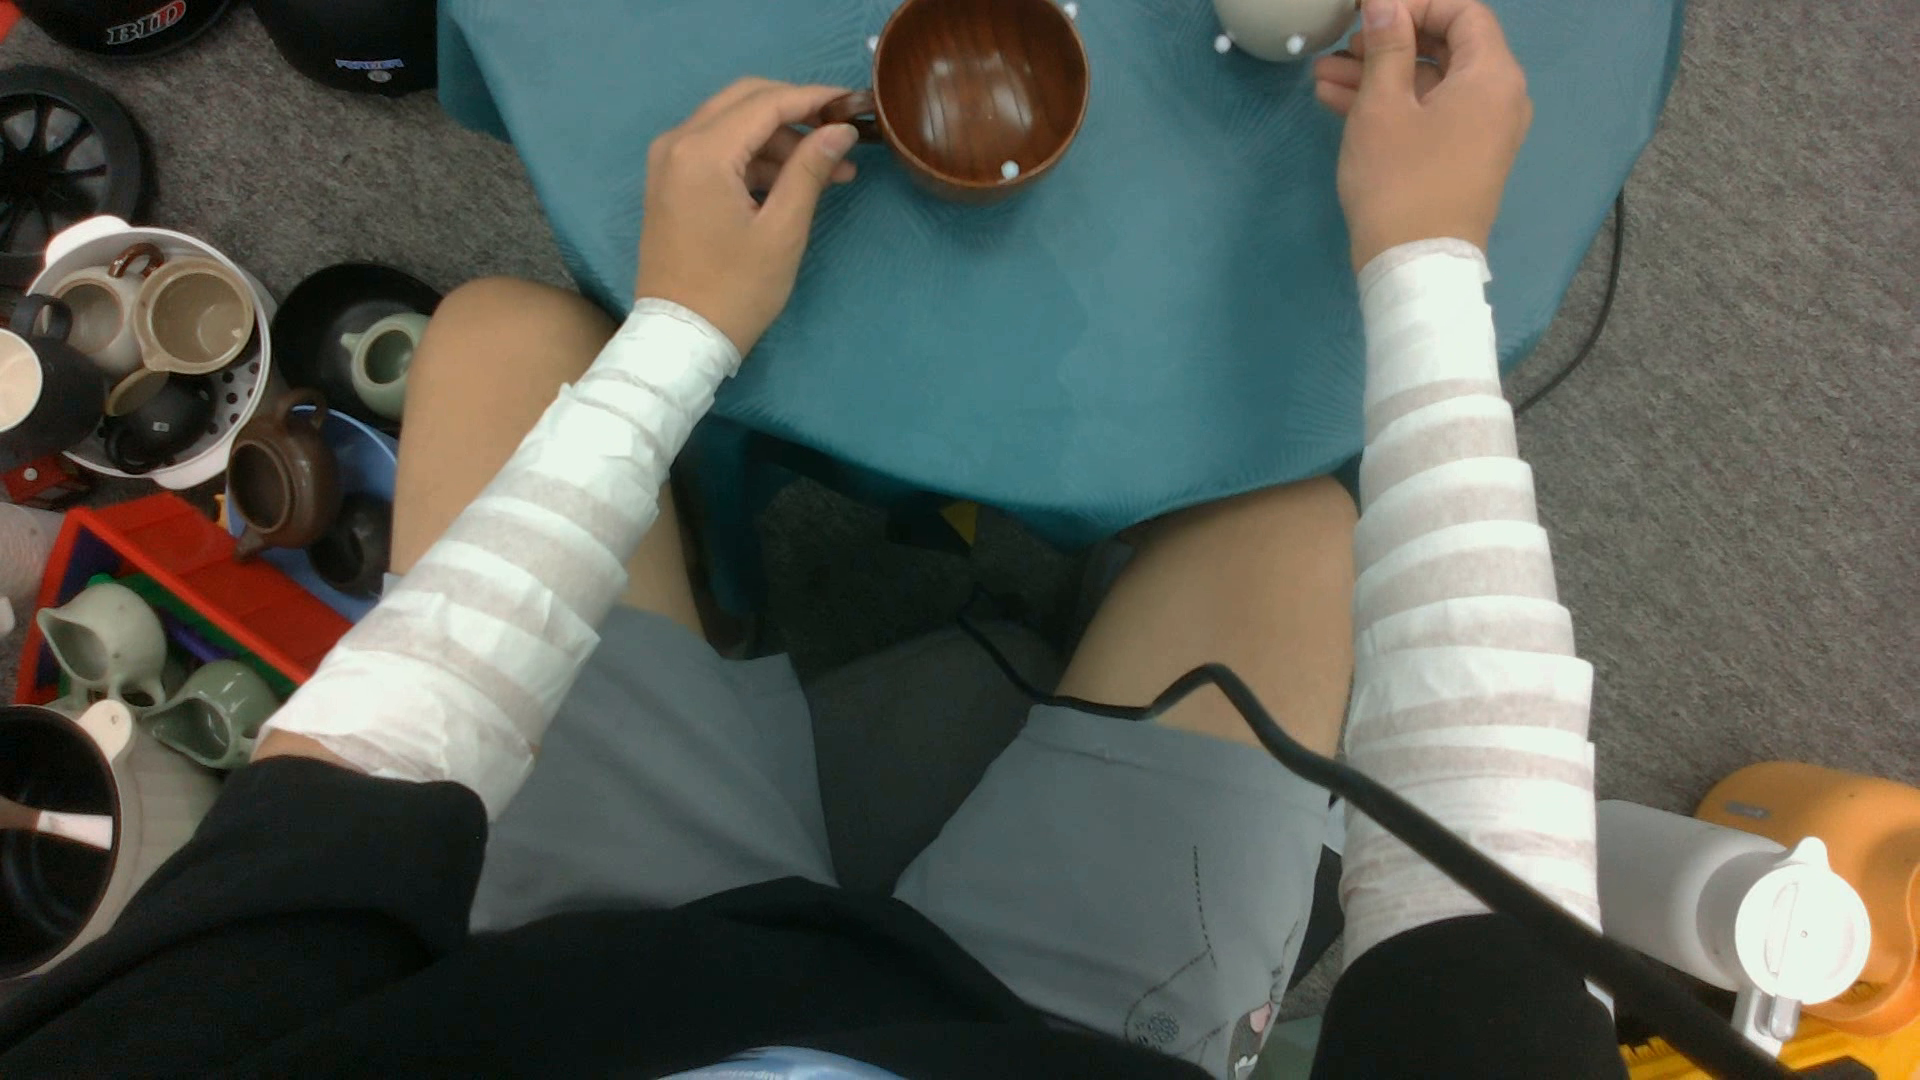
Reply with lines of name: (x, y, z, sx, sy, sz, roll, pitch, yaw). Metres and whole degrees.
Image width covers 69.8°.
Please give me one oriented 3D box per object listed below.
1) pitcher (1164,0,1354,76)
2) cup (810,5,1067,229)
pitcher: (0.139, -0.255, 0.644, 0.076, 0.088, 0.119, -43, 77, 3)
cup: (-0.012, -0.189, 0.645, 0.119, 0.068, 0.096, -15, 90, -3)
